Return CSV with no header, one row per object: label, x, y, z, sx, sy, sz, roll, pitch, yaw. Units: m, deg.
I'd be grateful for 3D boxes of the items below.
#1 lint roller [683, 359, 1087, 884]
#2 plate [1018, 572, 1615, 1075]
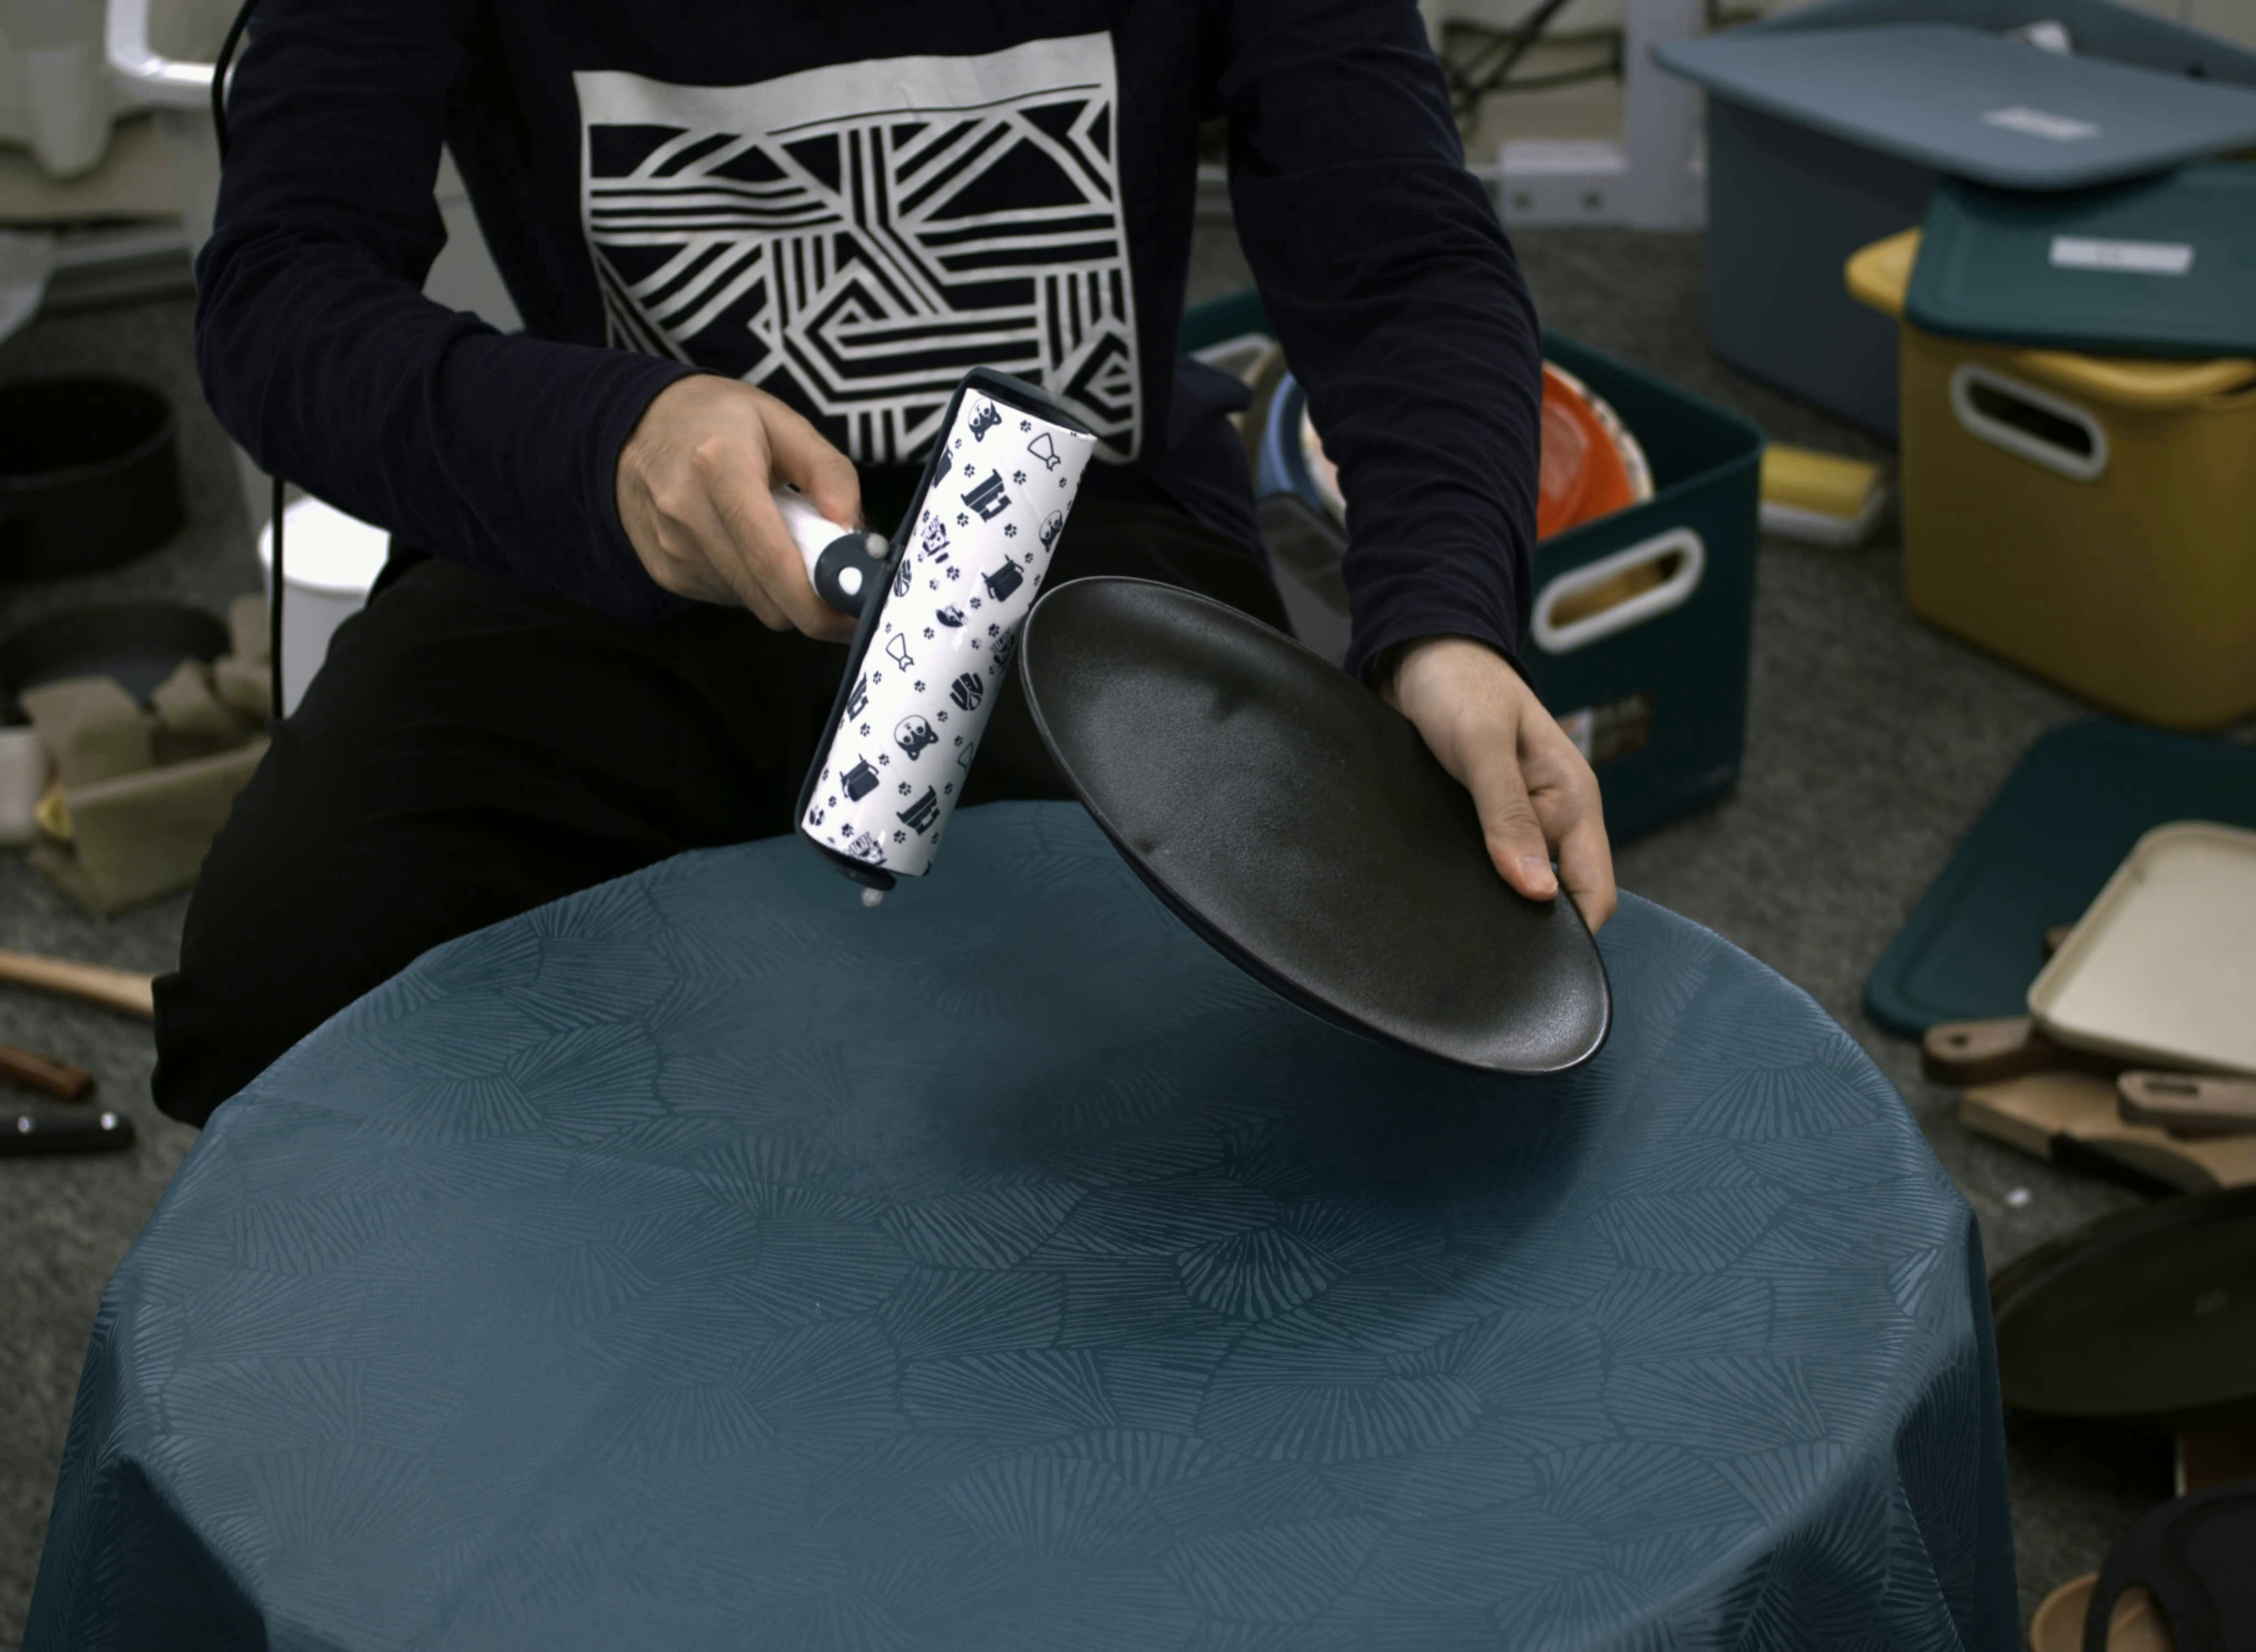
lint roller,-0.108,-0.095,1.974,0.050,0.176,0.247,18,6,-32
plate,0.059,0.003,1.894,0.243,0.023,0.248,30,25,-15
